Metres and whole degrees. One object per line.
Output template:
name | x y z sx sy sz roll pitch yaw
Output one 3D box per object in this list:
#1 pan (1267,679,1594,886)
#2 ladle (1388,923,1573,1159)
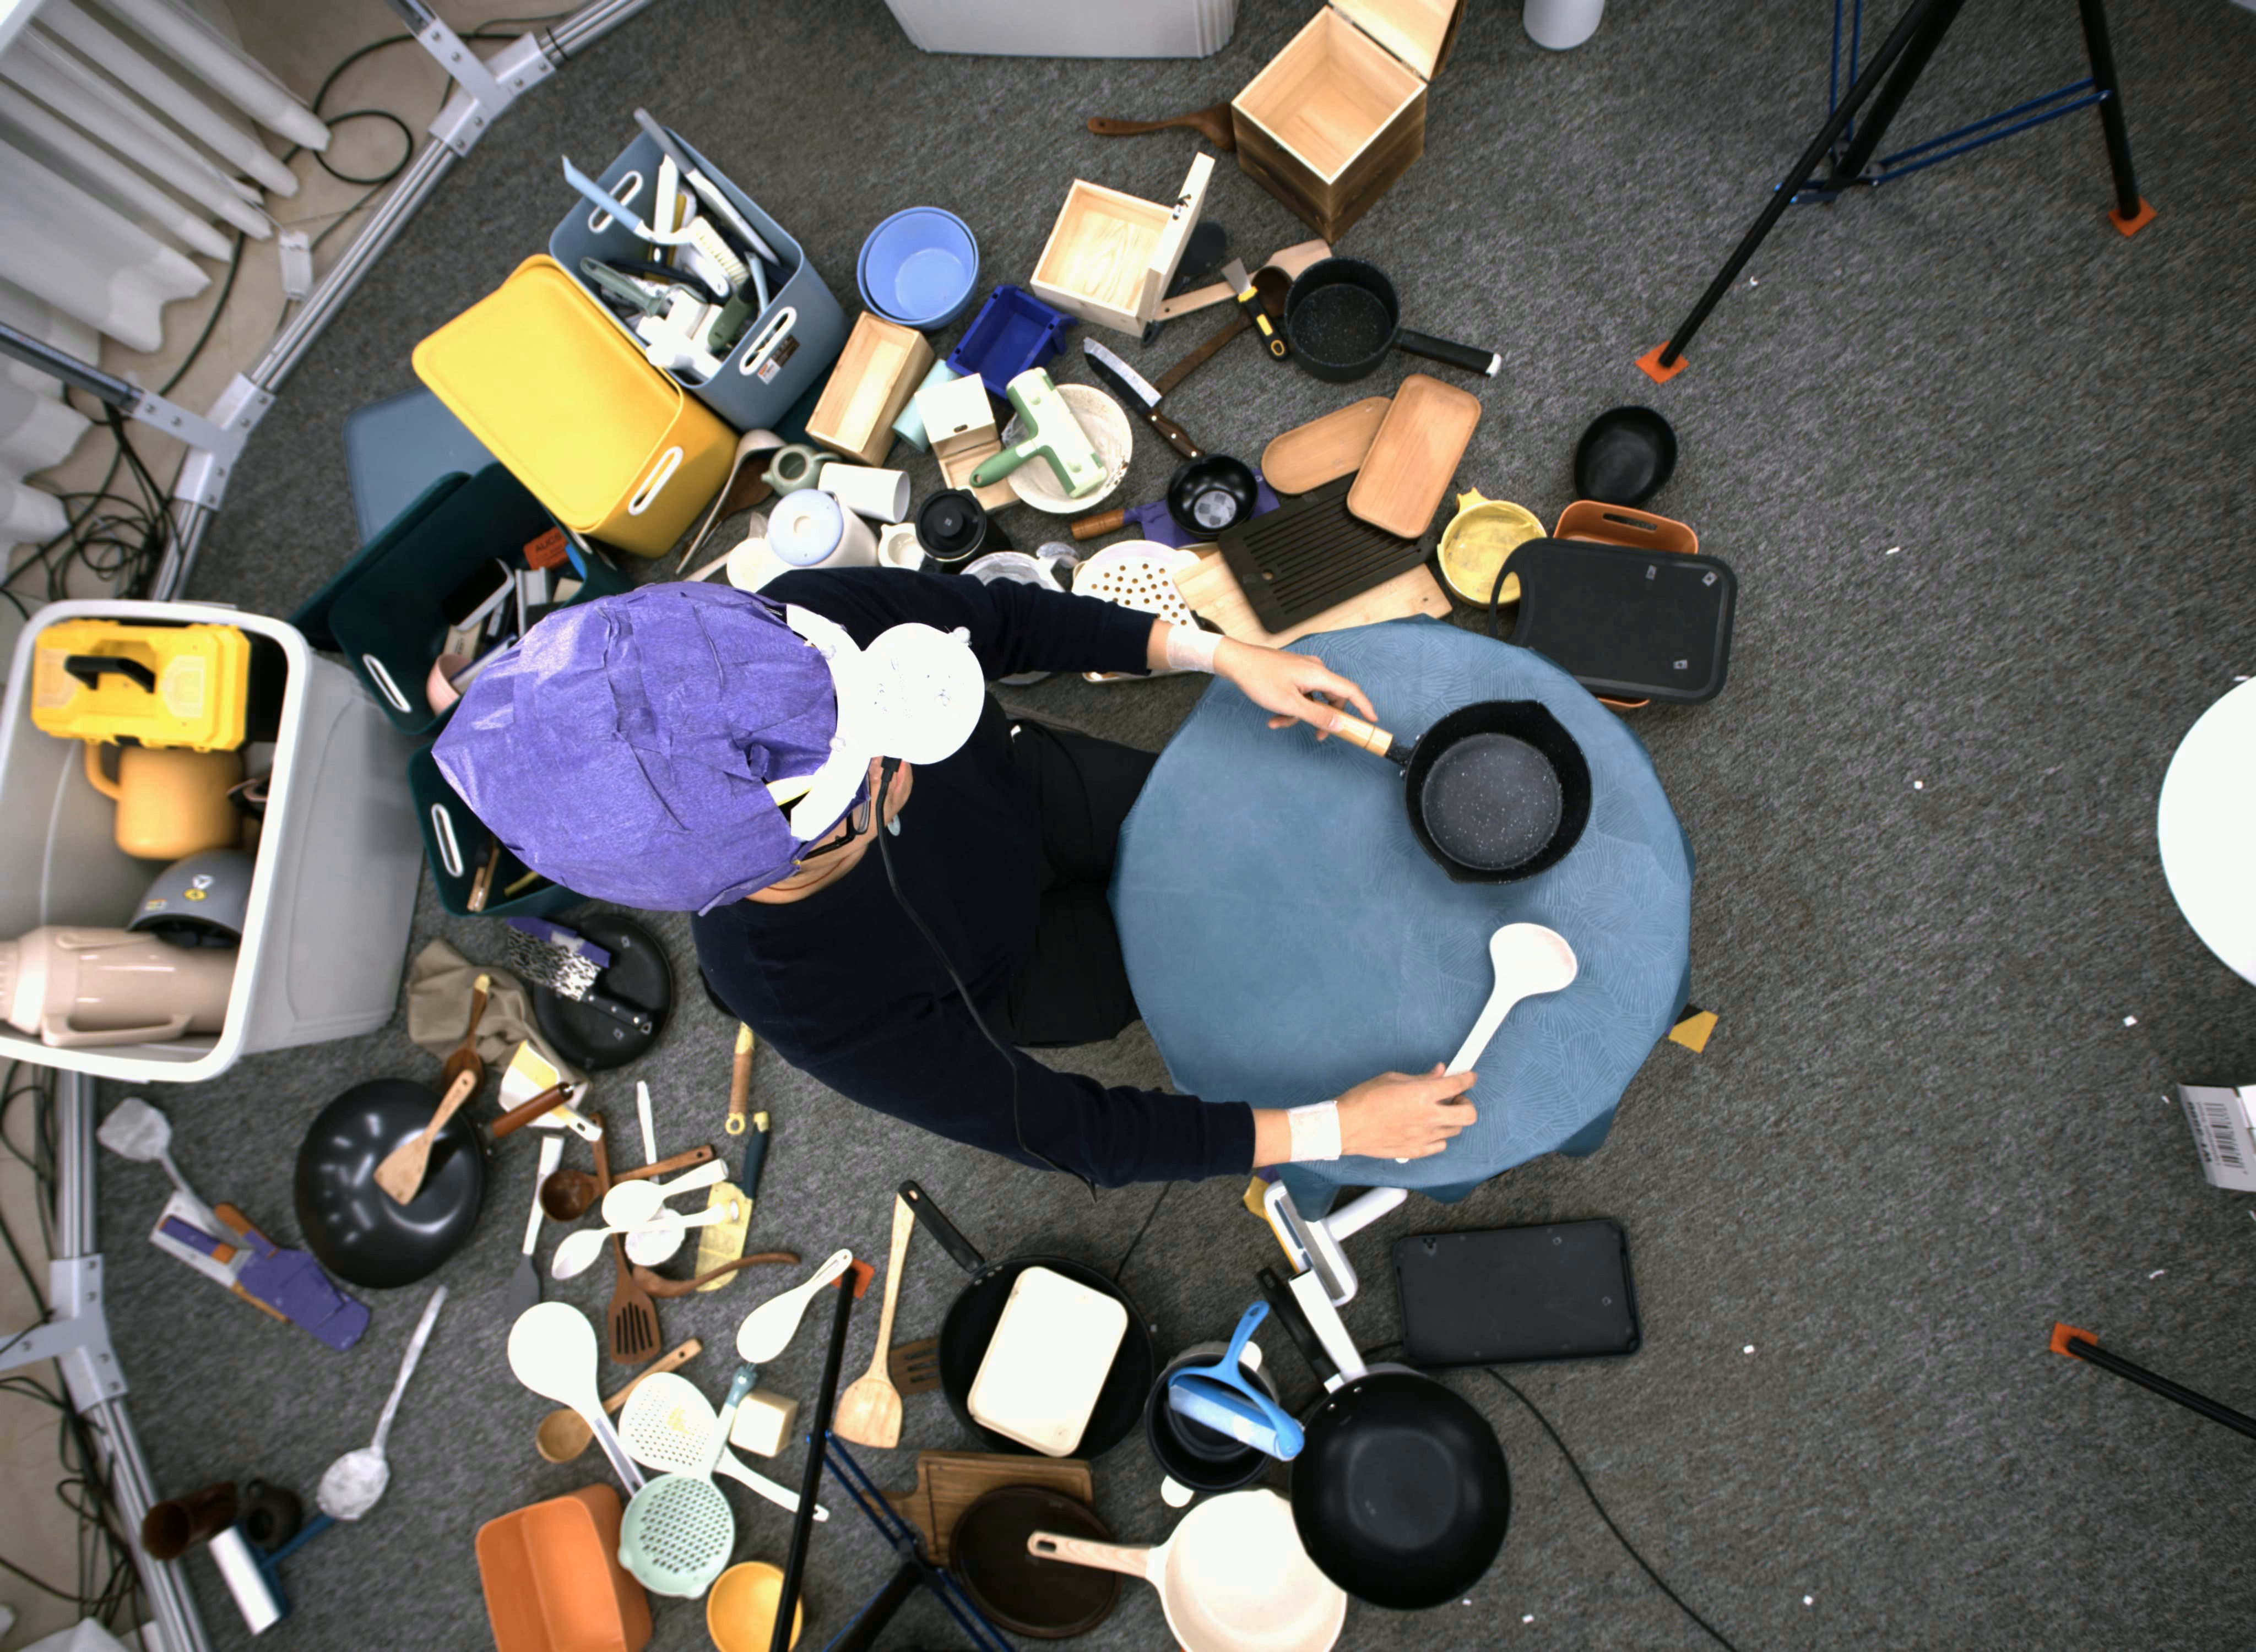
pan | 0.301 -0.064 1.407 0.342 0.108 0.207 24 91 11
ladle | 0.347 0.219 1.387 0.089 0.069 0.274 34 86 1
